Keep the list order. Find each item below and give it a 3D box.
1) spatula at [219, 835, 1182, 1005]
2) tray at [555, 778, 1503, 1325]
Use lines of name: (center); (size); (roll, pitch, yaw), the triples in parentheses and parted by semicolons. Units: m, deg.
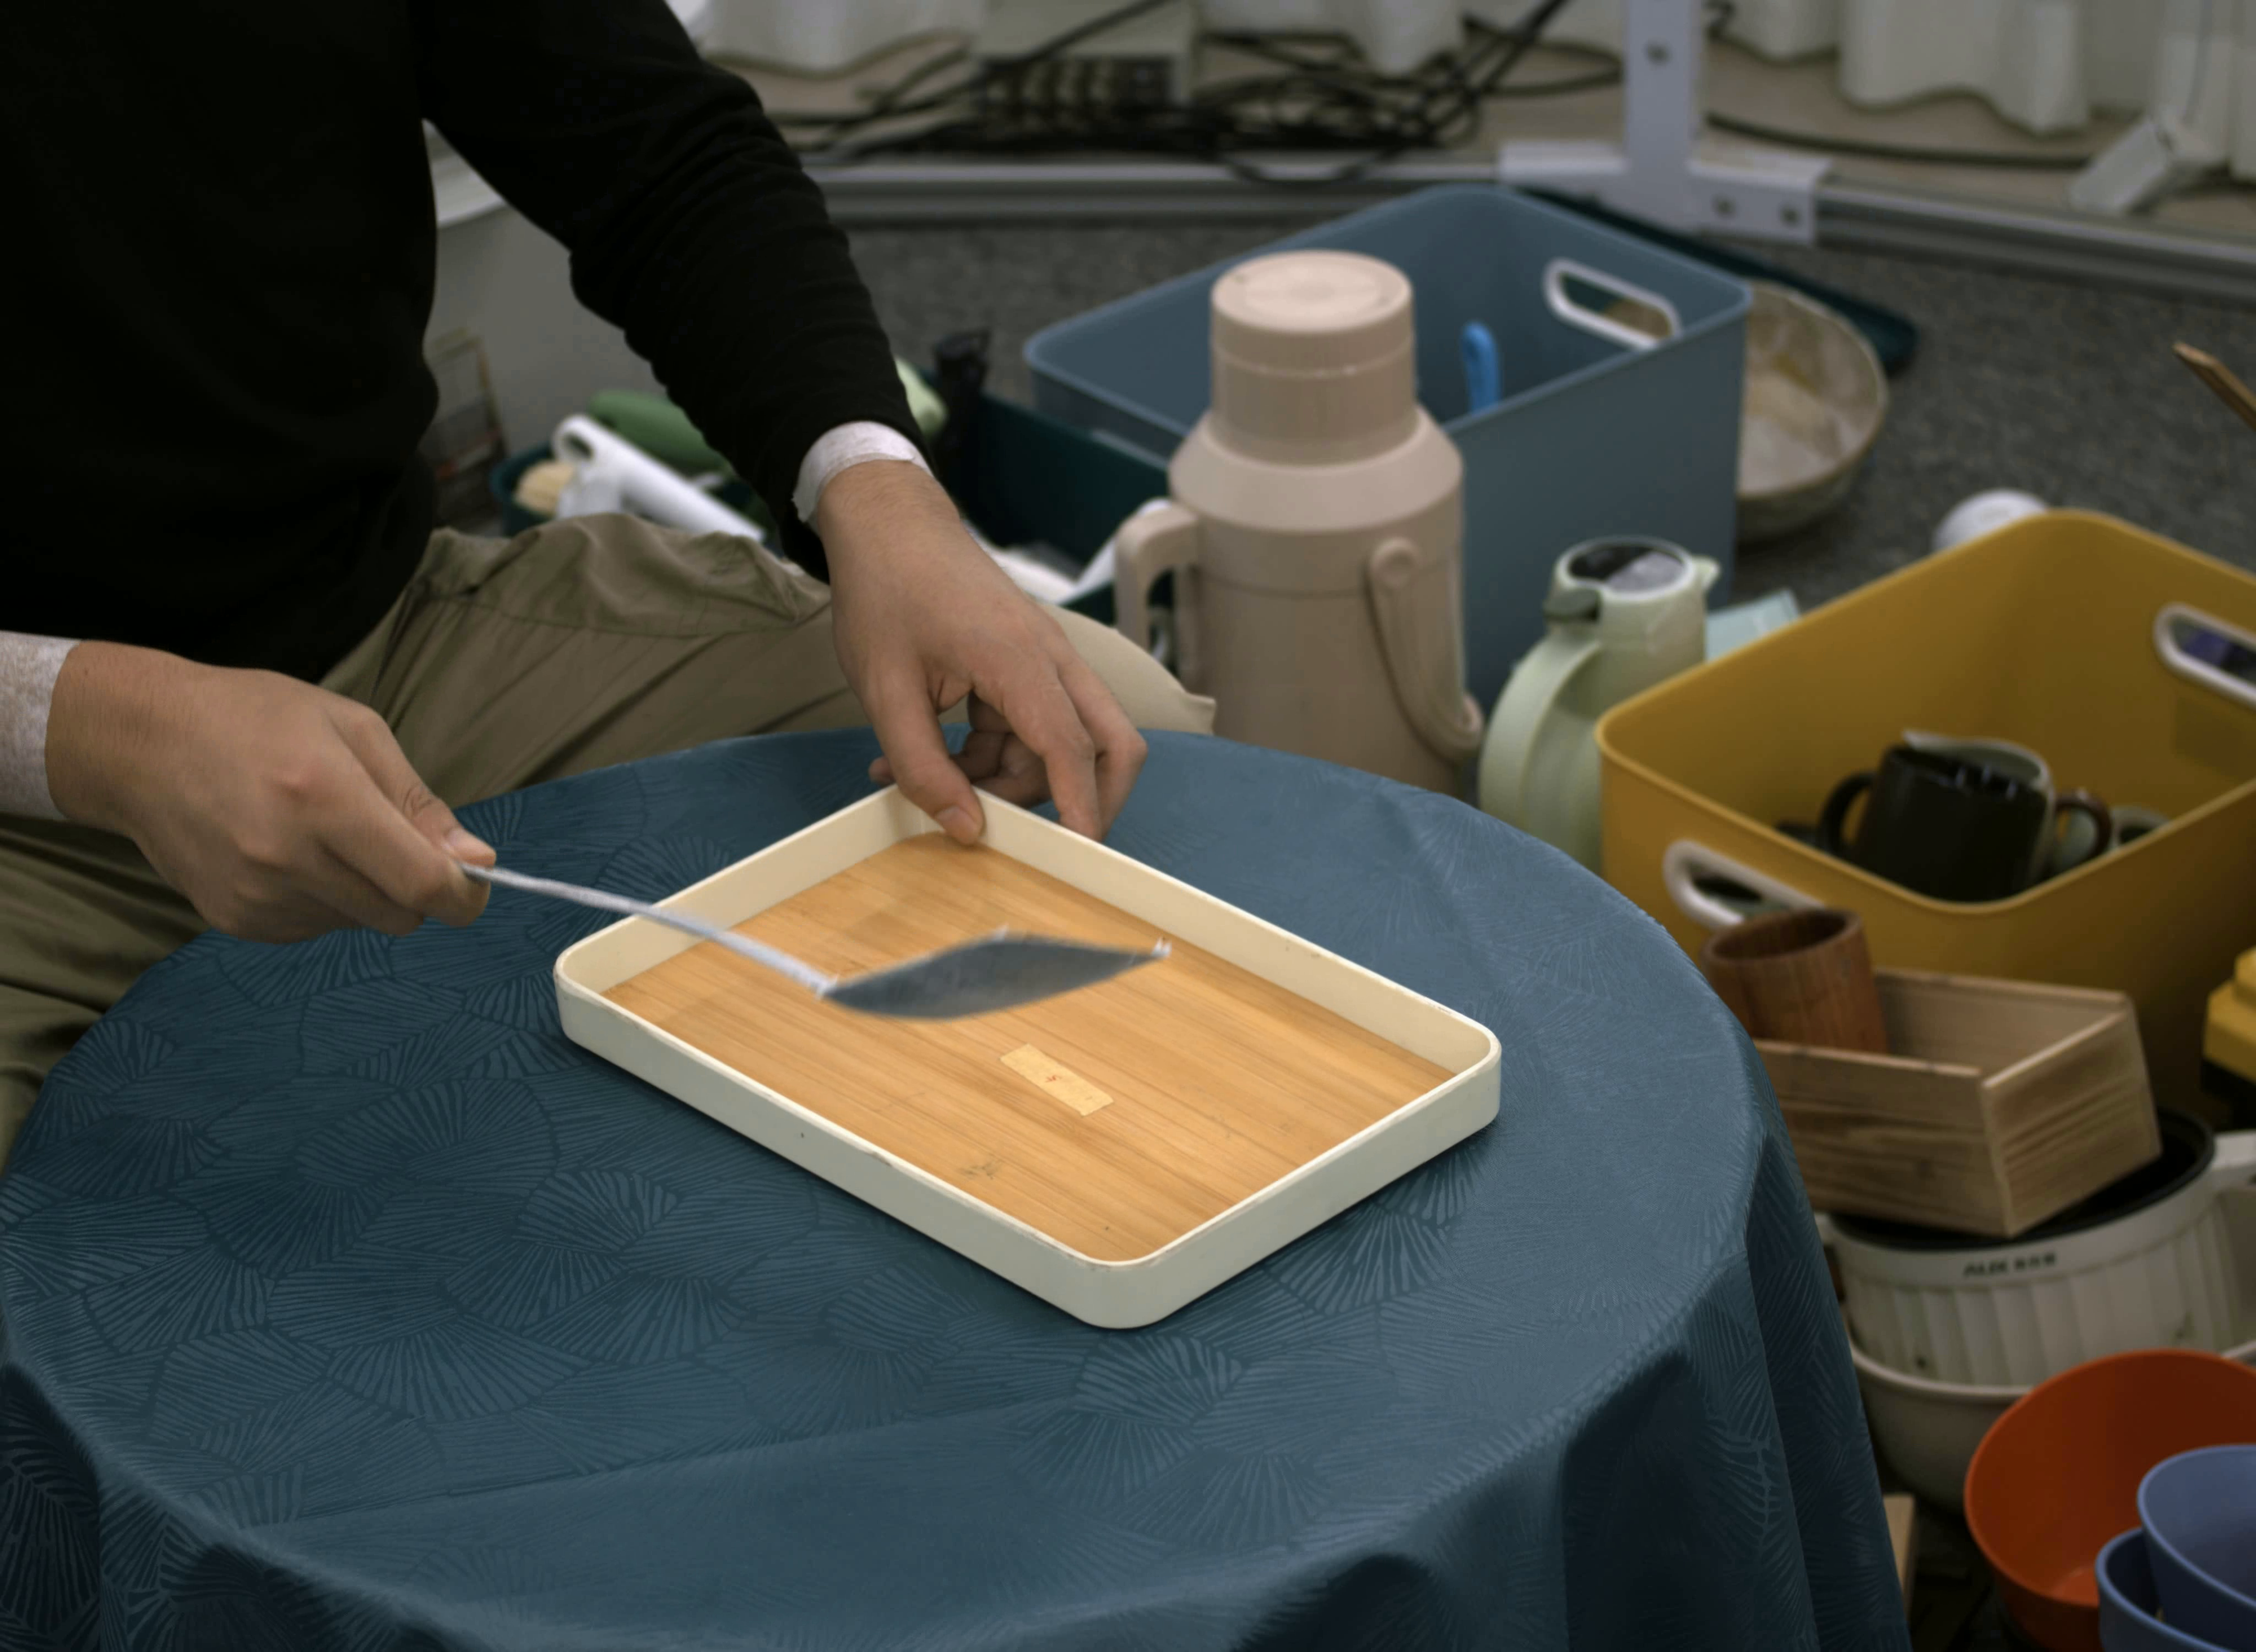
spatula: (-0.154, 0.020, 1.796); (0.362, 0.045, 0.099); (11, -1, 30)
tray: (-0.037, 0.072, 1.925); (0.194, 0.027, 0.300); (-27, 36, -36)
